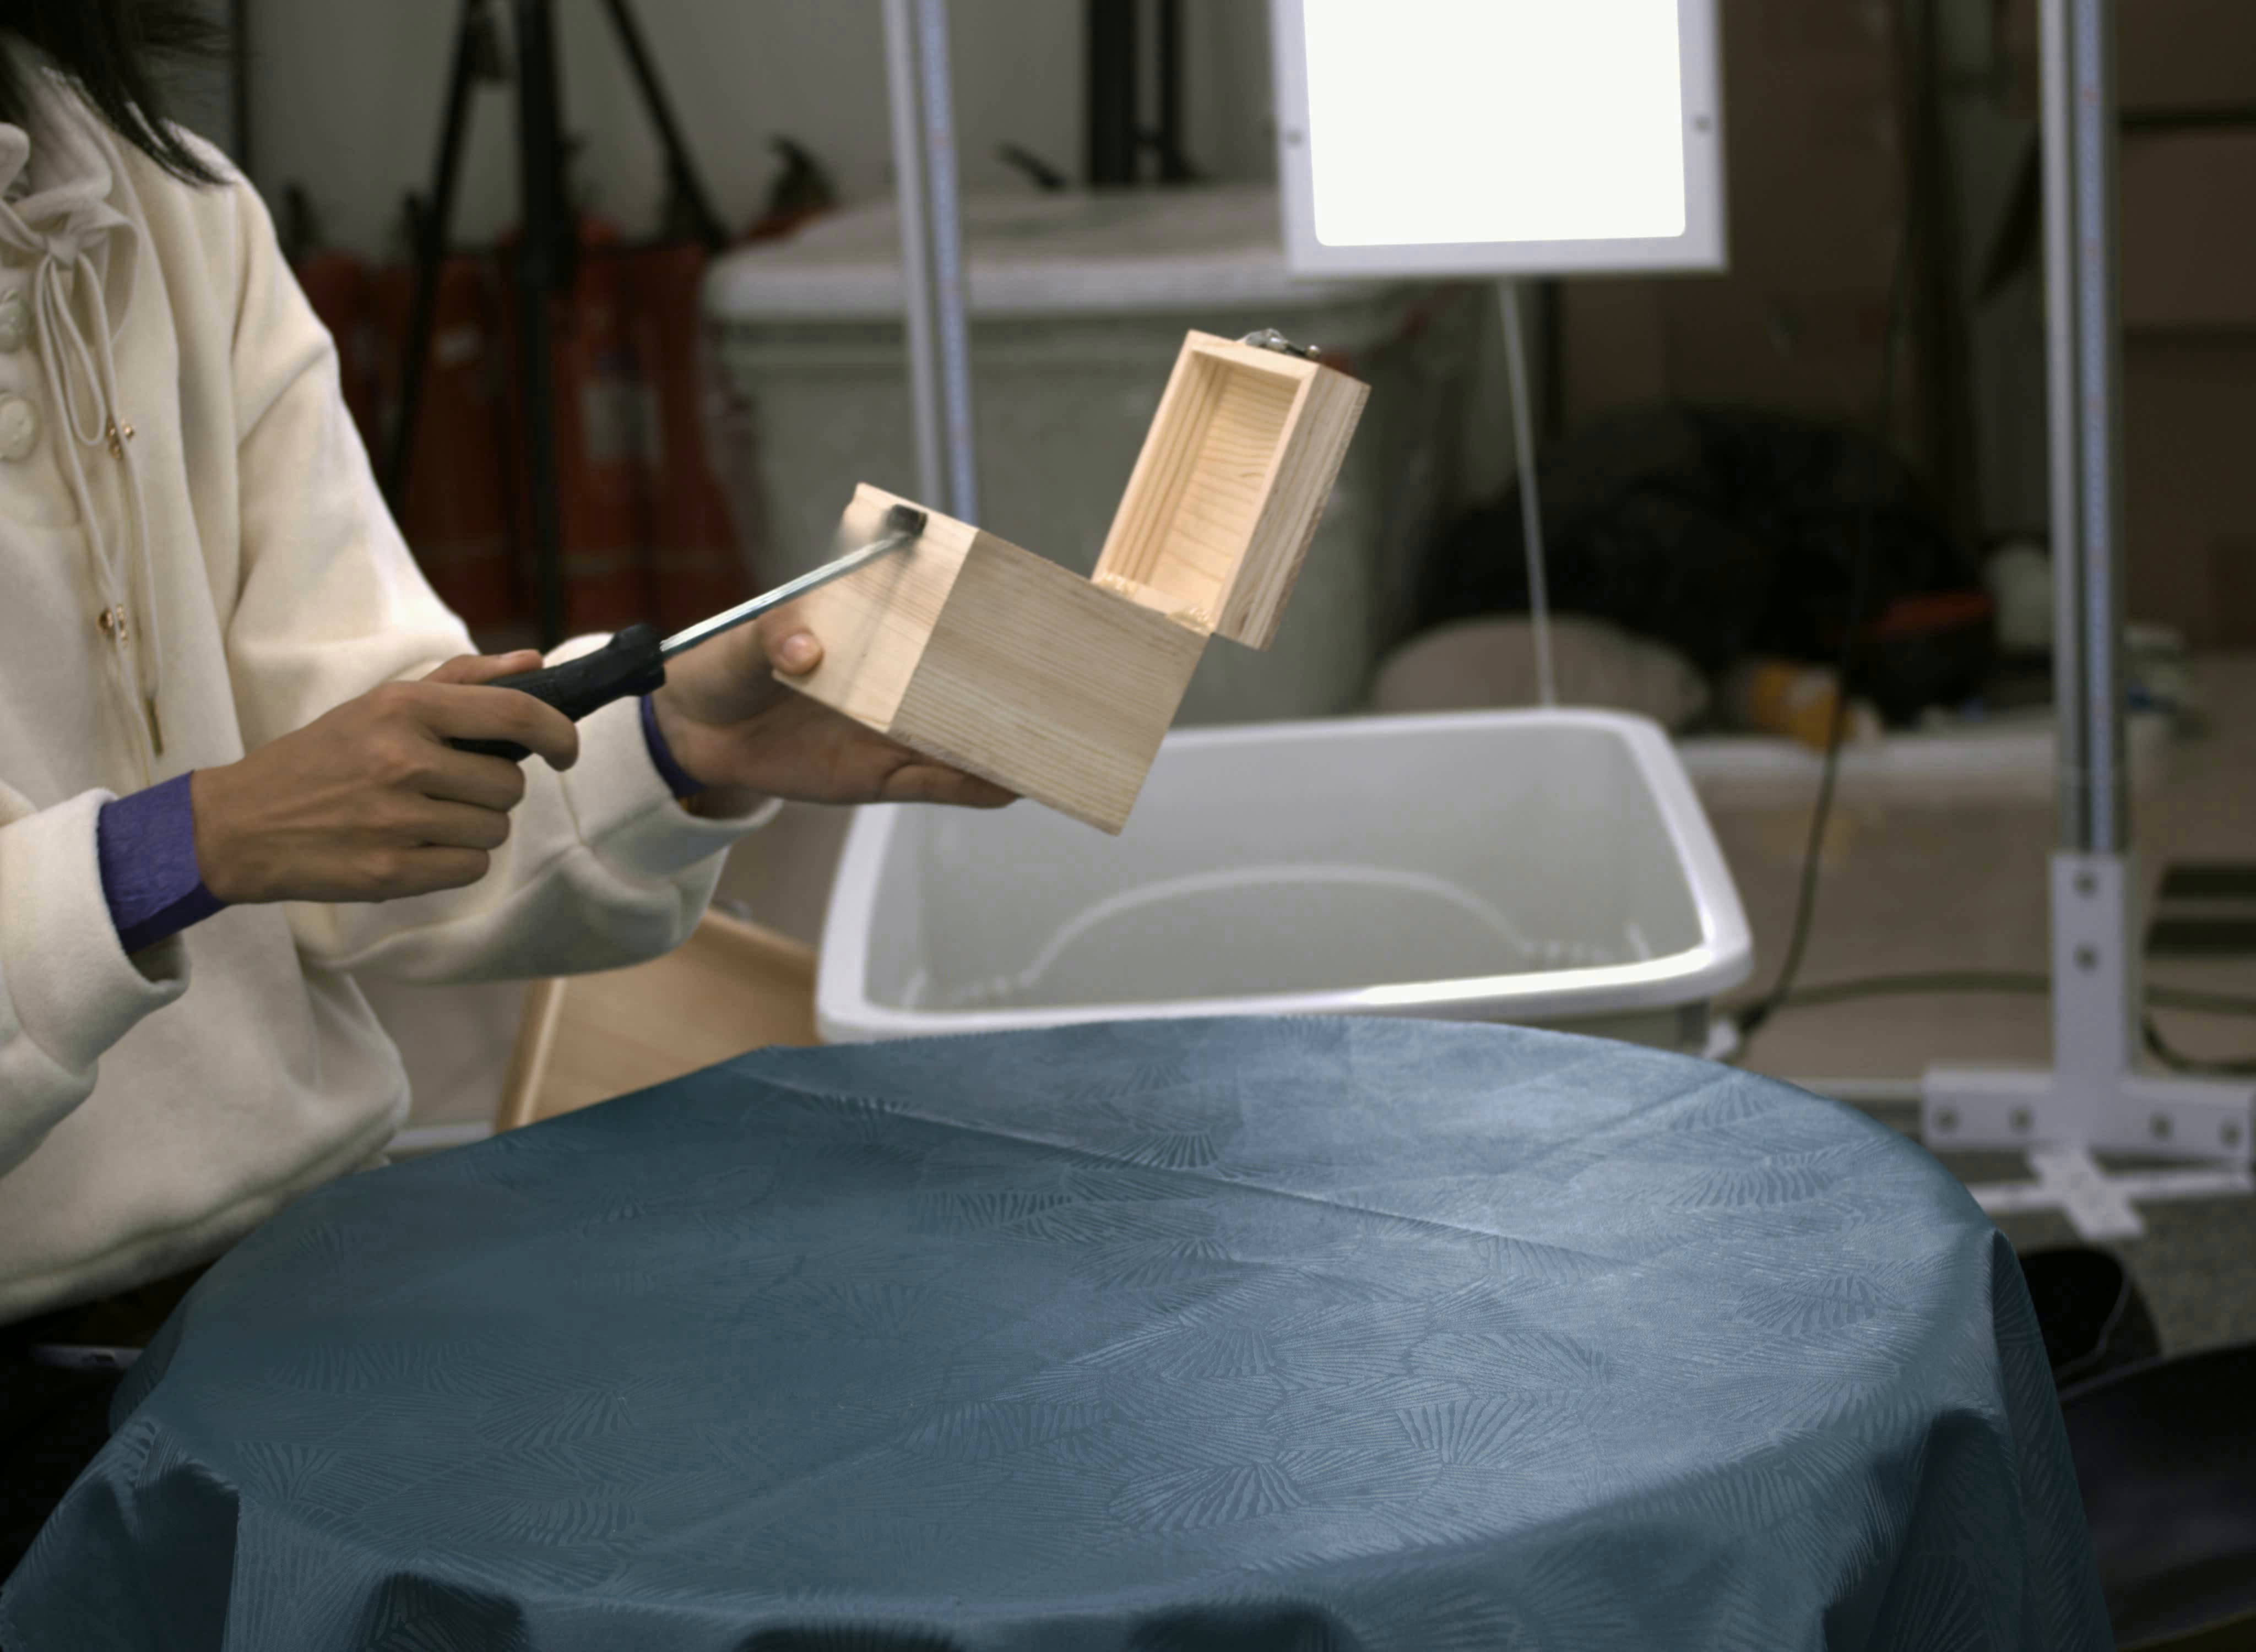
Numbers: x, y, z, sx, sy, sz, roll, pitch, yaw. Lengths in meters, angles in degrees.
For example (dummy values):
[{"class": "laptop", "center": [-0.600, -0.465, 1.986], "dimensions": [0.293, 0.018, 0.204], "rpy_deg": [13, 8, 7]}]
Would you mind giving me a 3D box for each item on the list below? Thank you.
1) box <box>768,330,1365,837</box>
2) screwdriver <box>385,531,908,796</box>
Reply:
[{"class": "box", "center": [-0.022, -0.104, 1.943], "dimensions": [0.131, 0.185, 0.104], "rpy_deg": [24, 3, -28]}, {"class": "screwdriver", "center": [-0.161, -0.056, 1.885], "dimensions": [0.195, 0.031, 0.032], "rpy_deg": [-22, 17, -11]}]
